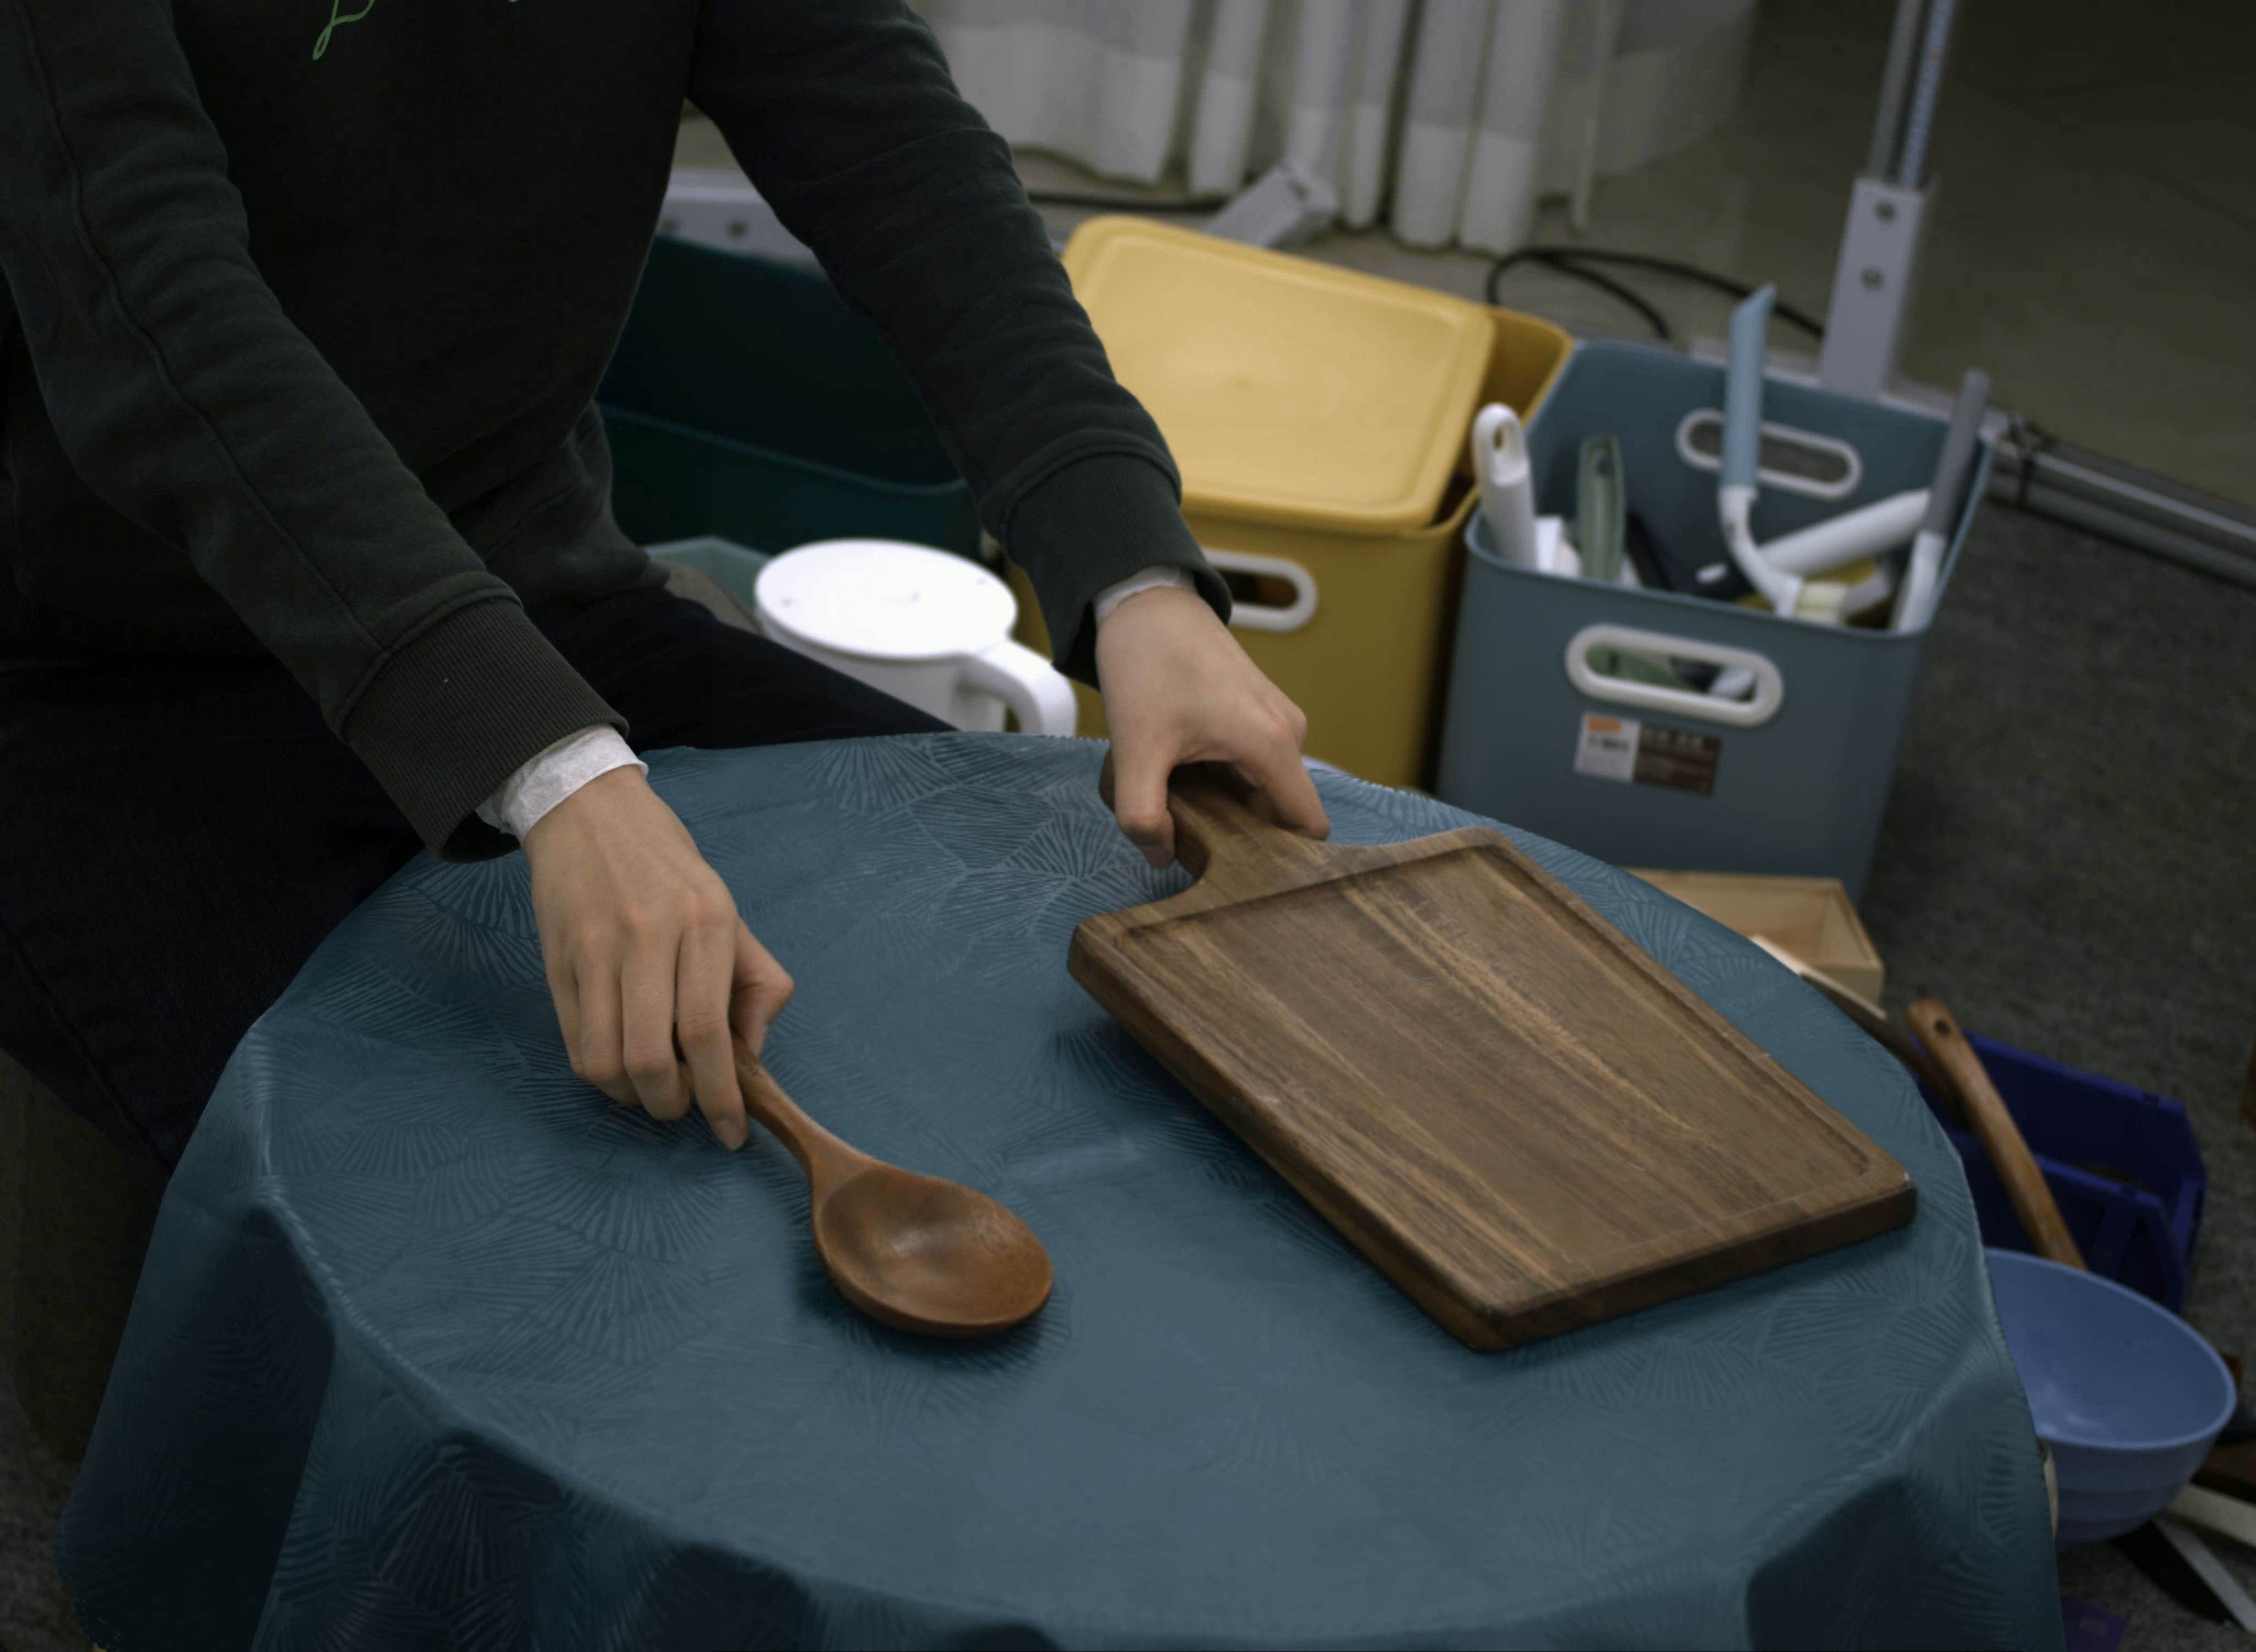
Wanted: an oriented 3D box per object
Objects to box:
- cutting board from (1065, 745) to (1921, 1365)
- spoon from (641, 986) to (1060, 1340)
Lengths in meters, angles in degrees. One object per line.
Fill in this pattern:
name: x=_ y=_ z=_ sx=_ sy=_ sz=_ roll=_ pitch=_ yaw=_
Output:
cutting board: x=0.097 y=0.064 z=1.892 sx=0.200 sy=0.023 sz=0.355 roll=-14 pitch=37 yaw=-33
spoon: x=-0.100 y=0.112 z=1.772 sx=0.075 sy=0.017 sz=0.218 roll=-15 pitch=38 yaw=-32
